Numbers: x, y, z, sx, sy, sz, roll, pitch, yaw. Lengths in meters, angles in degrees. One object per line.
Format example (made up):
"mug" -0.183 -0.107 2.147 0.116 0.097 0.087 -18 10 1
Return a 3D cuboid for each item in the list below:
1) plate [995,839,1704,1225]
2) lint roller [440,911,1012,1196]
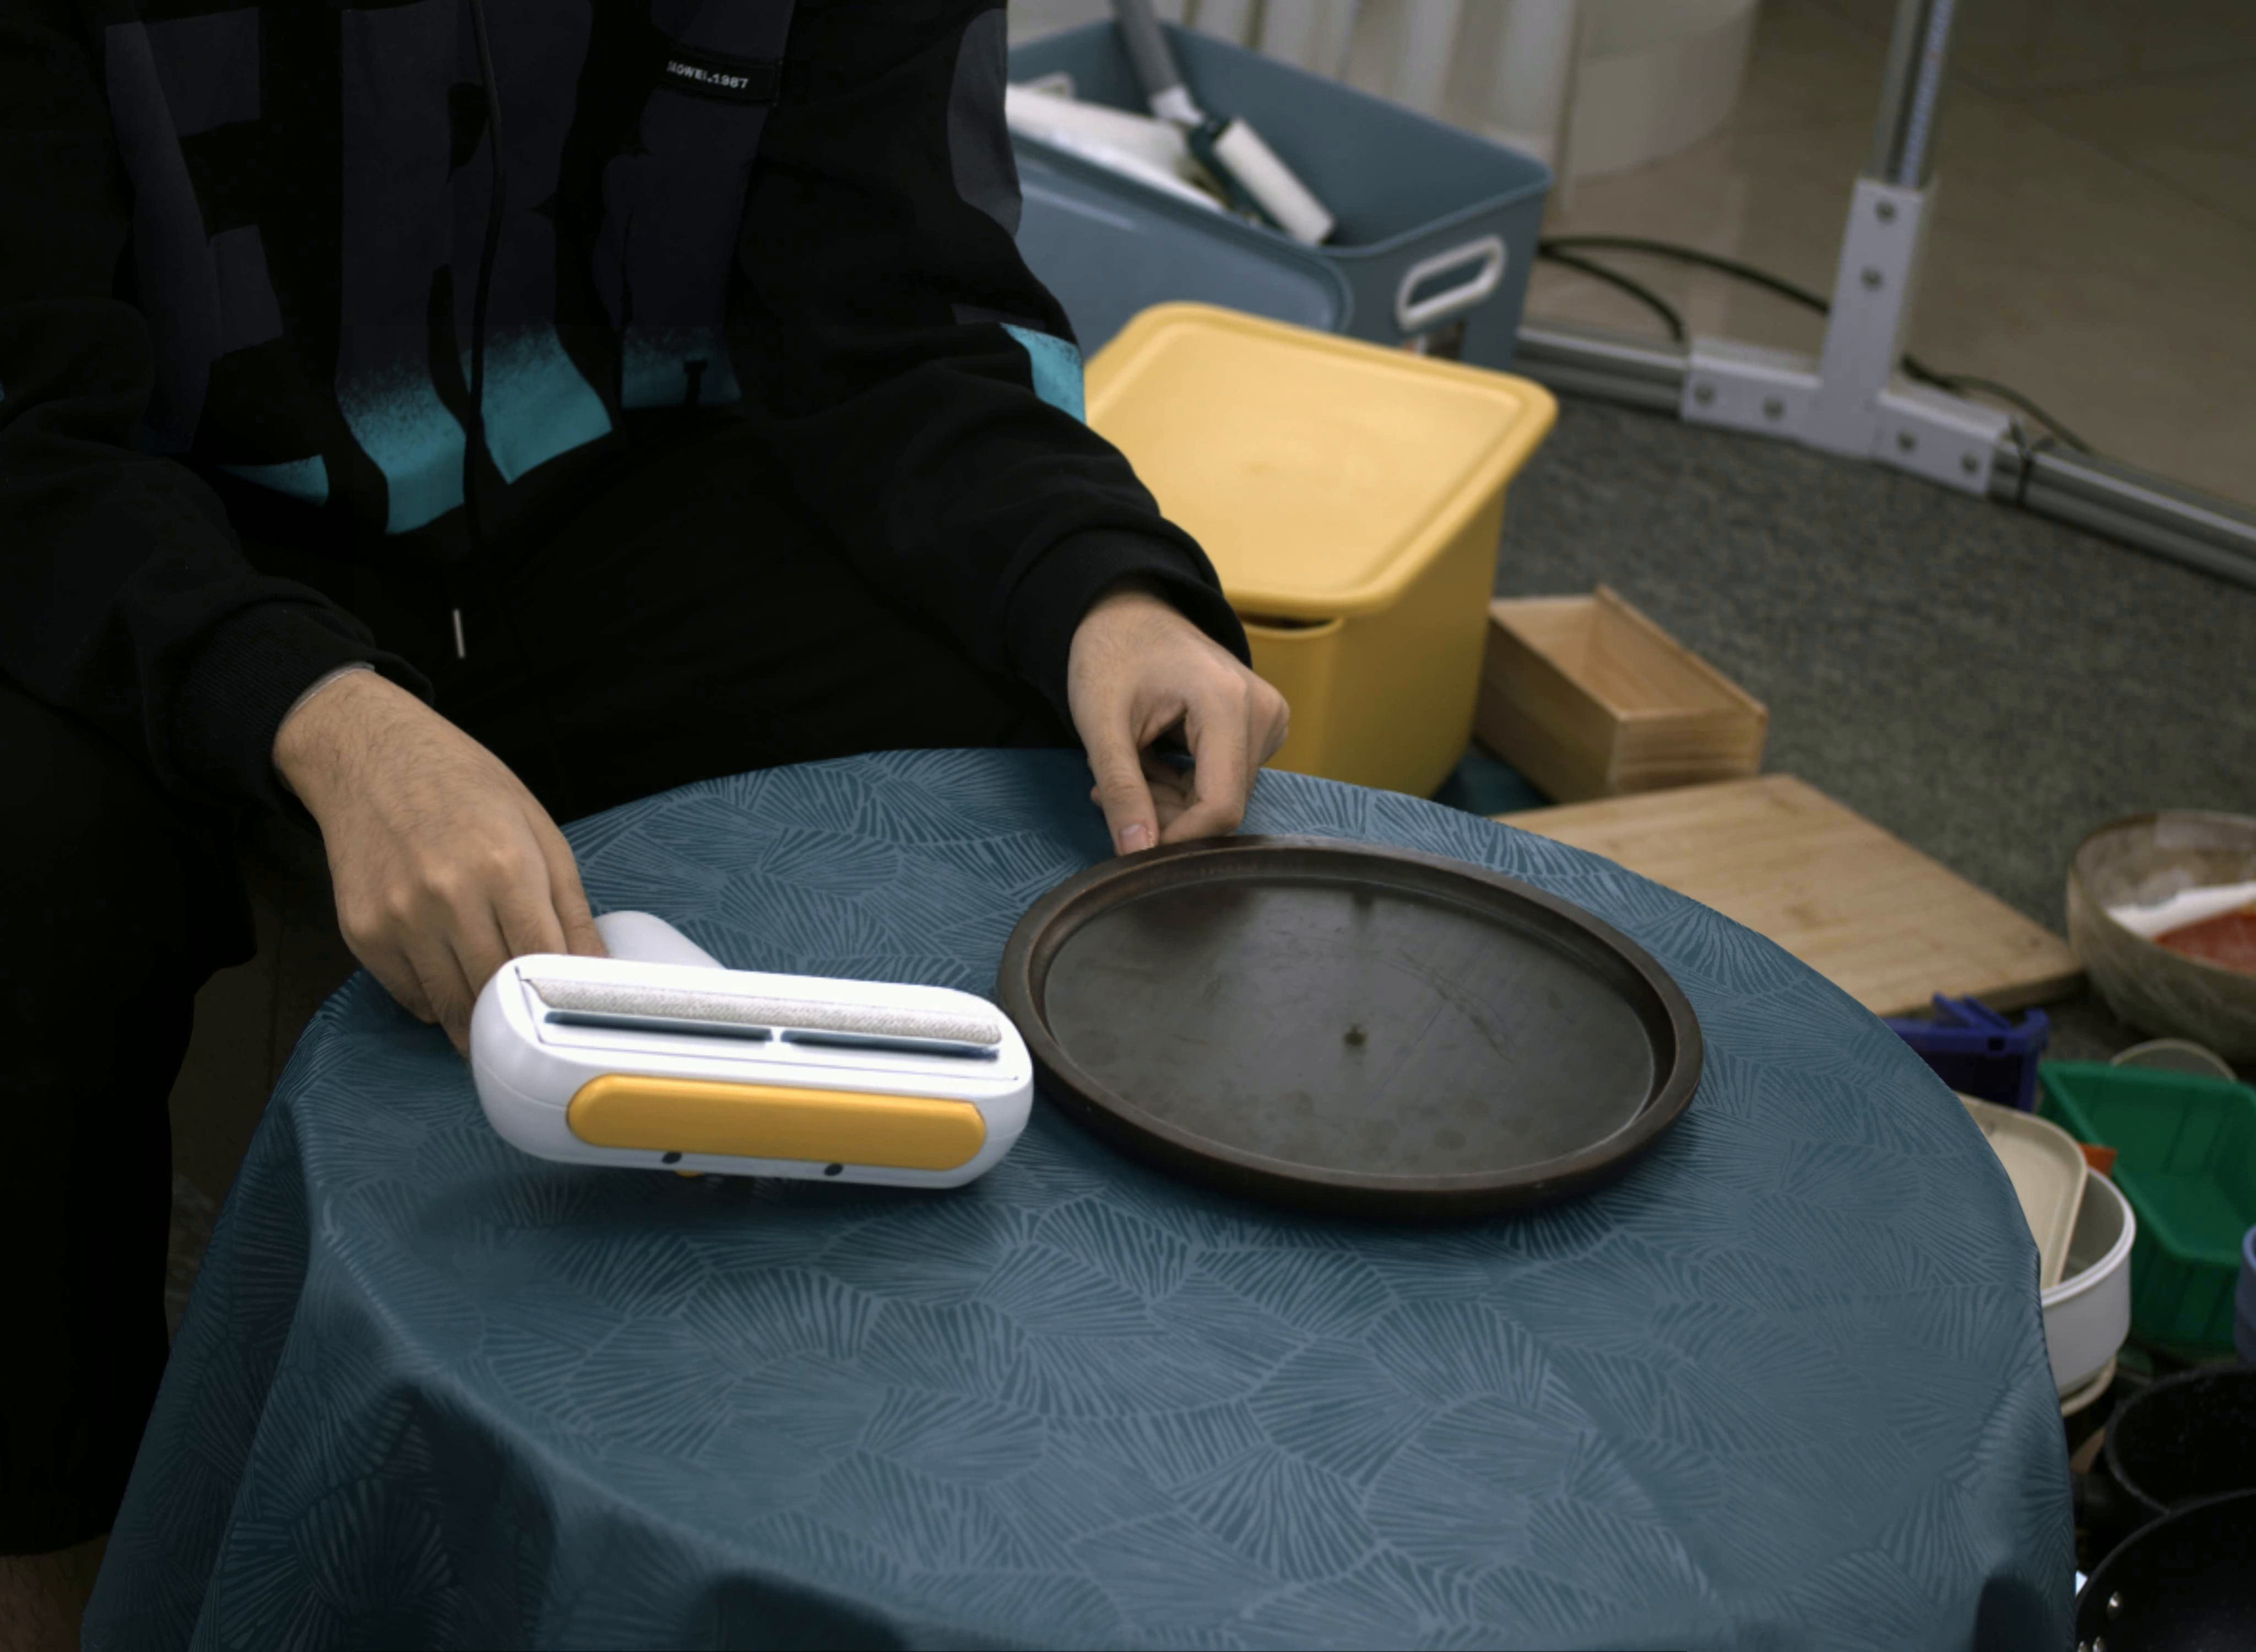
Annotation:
"plate" 0.078 0.072 1.893 0.254 0.029 0.256 5 26 -3
"lint roller" -0.149 0.063 1.812 0.191 0.074 0.194 3 24 -18
